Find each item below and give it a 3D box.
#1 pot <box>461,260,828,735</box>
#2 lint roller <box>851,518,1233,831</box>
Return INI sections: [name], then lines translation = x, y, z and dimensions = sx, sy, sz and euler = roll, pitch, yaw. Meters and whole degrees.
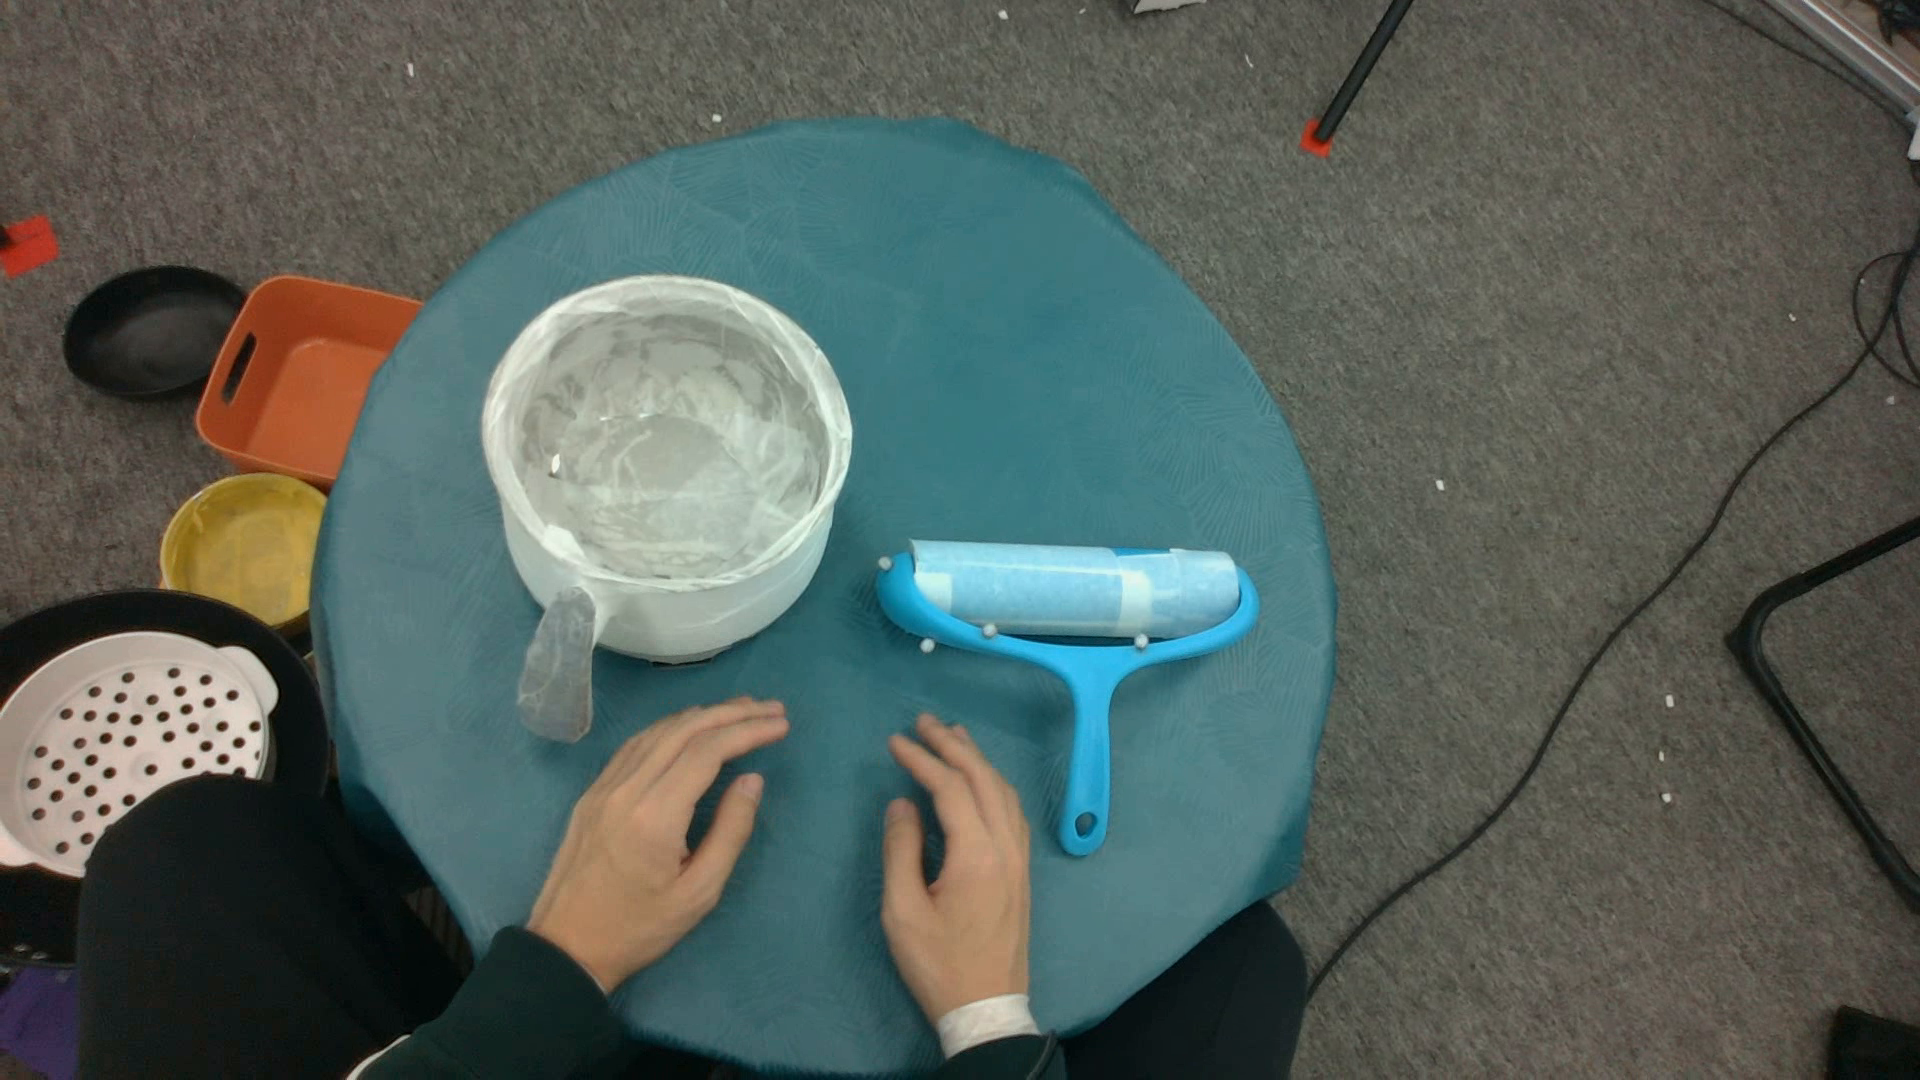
[pot]
translation = -0.175, -0.015, 0.722
dimensions = 0.179, 0.136, 0.234
euler = 22, 63, -3
[lint roller]
translation = 0.058, 0.070, 0.787
dimensions = 0.229, 0.067, 0.181
euler = -2, 67, -16
